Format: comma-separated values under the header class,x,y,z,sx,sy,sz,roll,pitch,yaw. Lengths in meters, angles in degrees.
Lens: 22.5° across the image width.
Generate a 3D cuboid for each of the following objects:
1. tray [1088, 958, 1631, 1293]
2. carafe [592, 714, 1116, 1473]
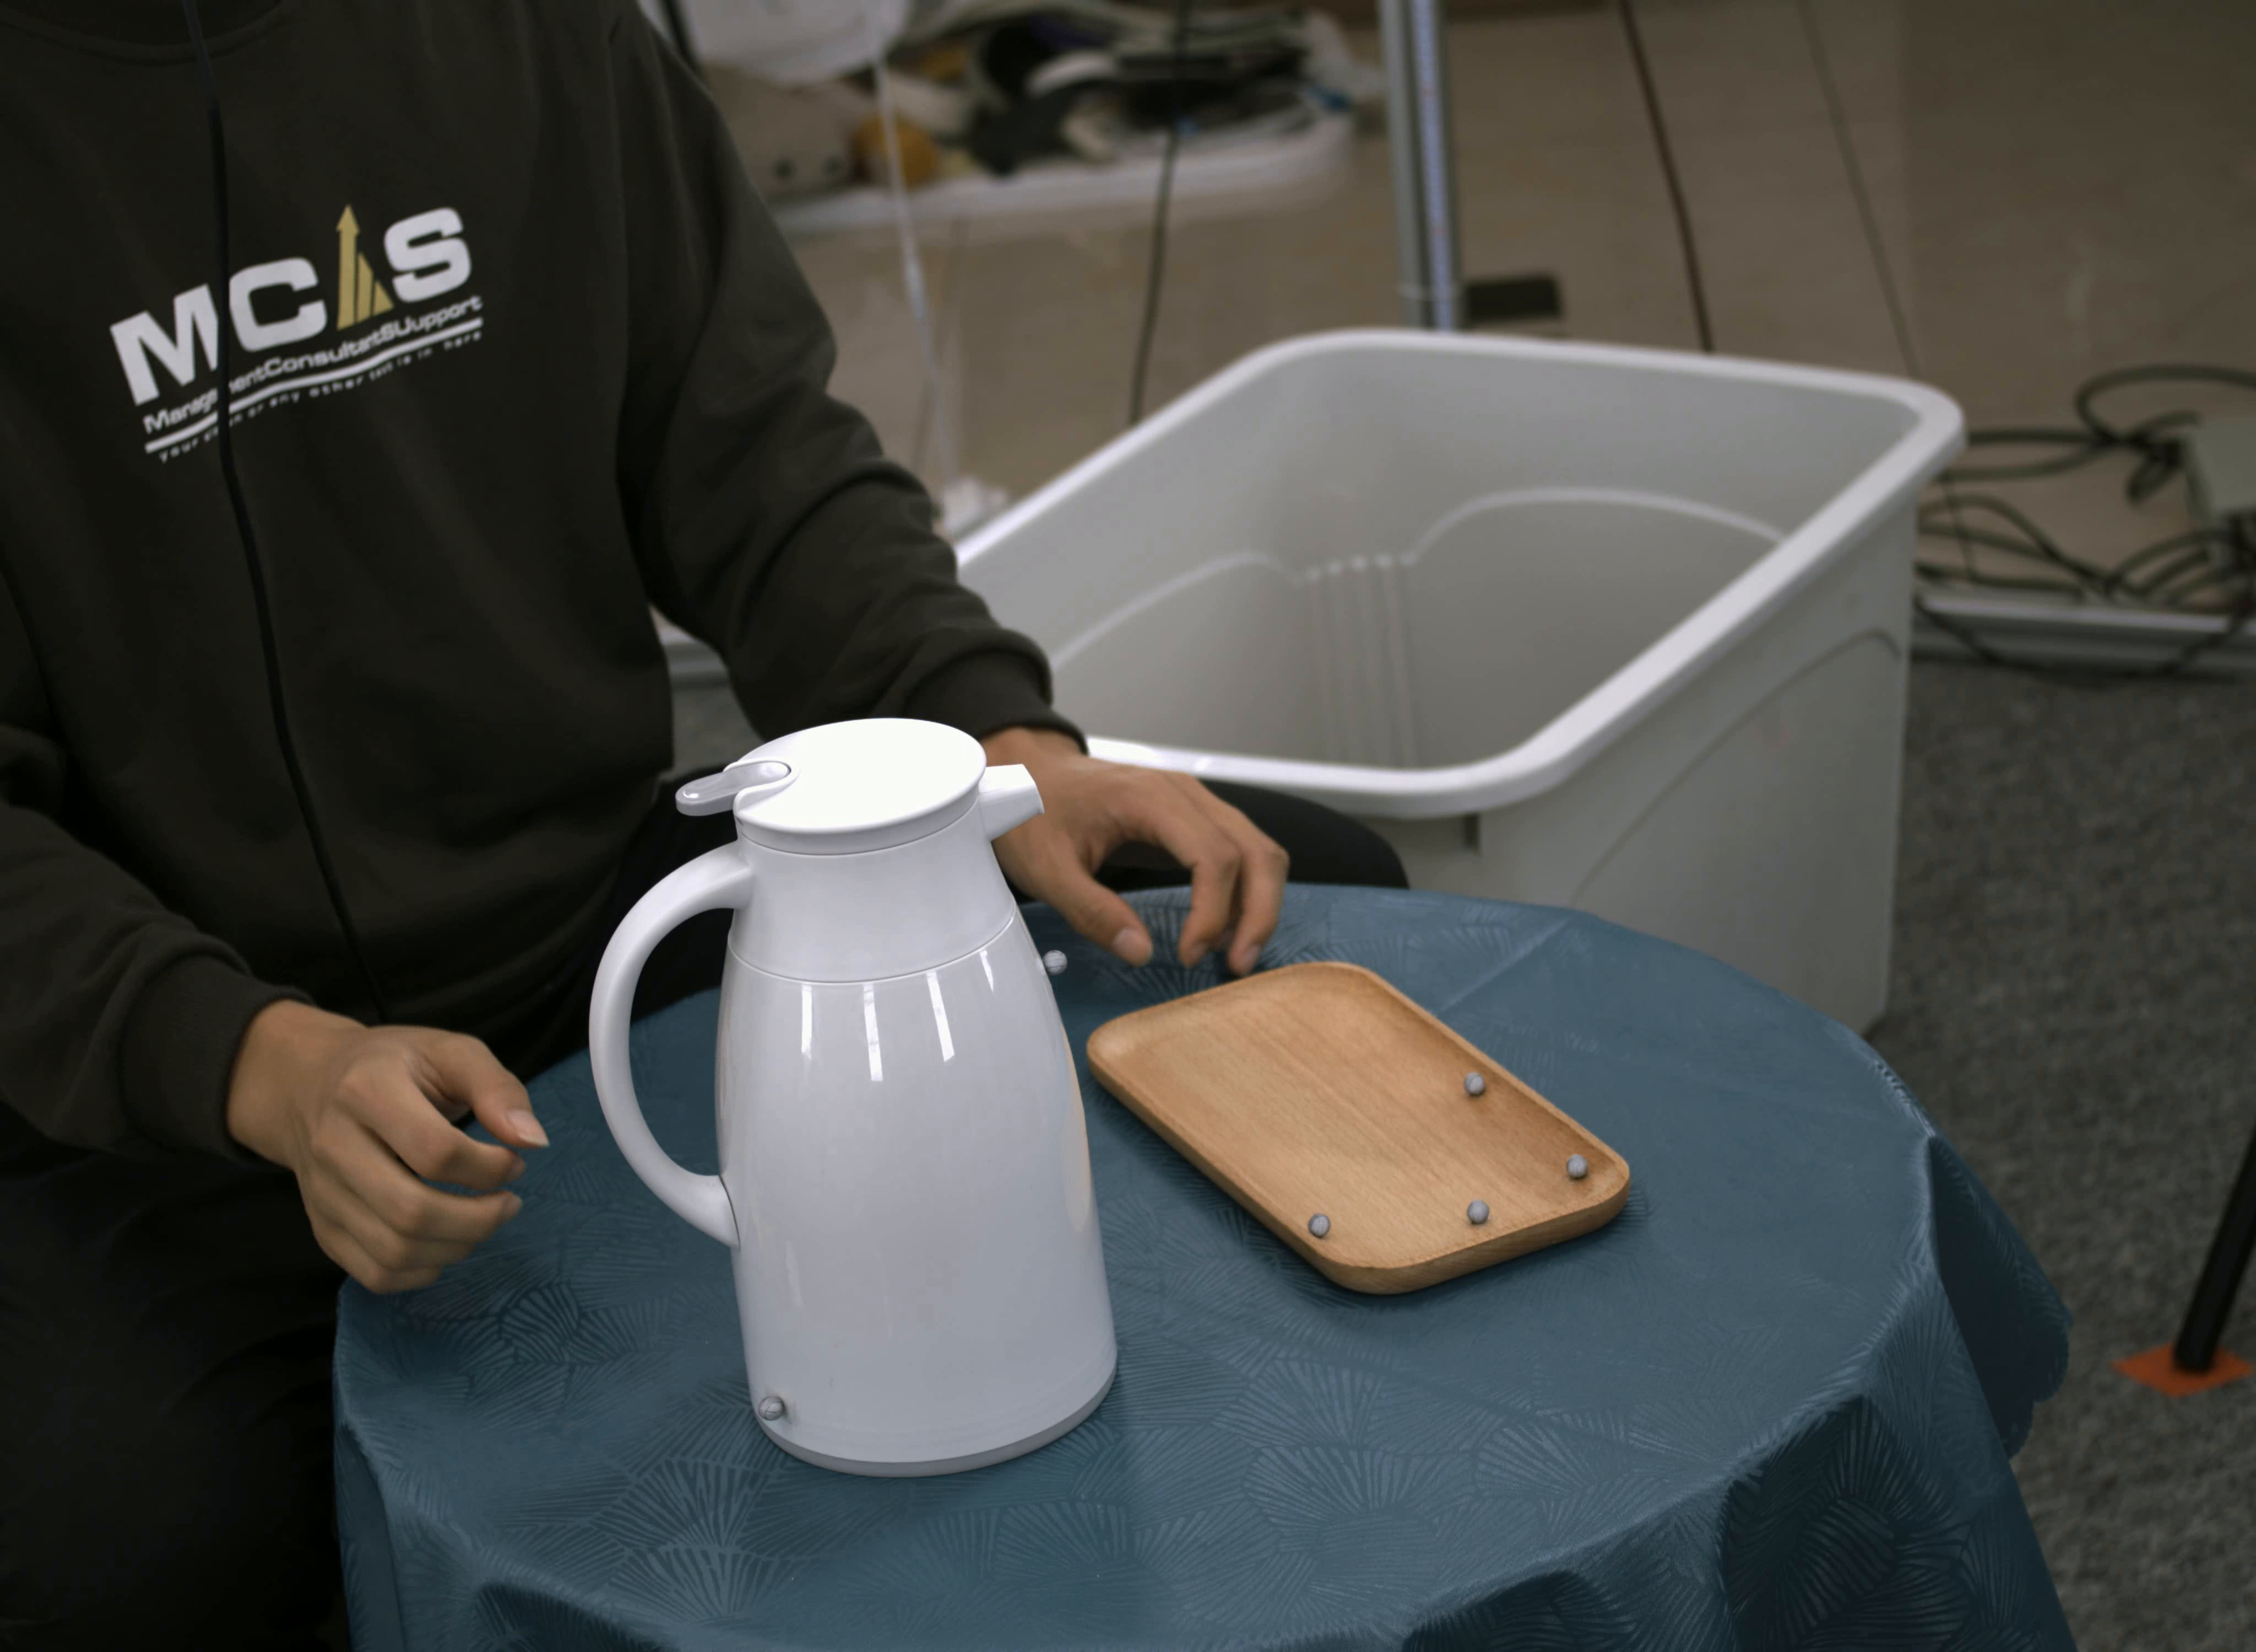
class,x,y,z,sx,sy,sz,roll,pitch,yaw
tray,0.085,0.112,2.165,0.130,0.023,0.248,-14,25,-21
carafe,-0.099,0.090,1.972,0.167,0.253,0.131,-13,27,-12
